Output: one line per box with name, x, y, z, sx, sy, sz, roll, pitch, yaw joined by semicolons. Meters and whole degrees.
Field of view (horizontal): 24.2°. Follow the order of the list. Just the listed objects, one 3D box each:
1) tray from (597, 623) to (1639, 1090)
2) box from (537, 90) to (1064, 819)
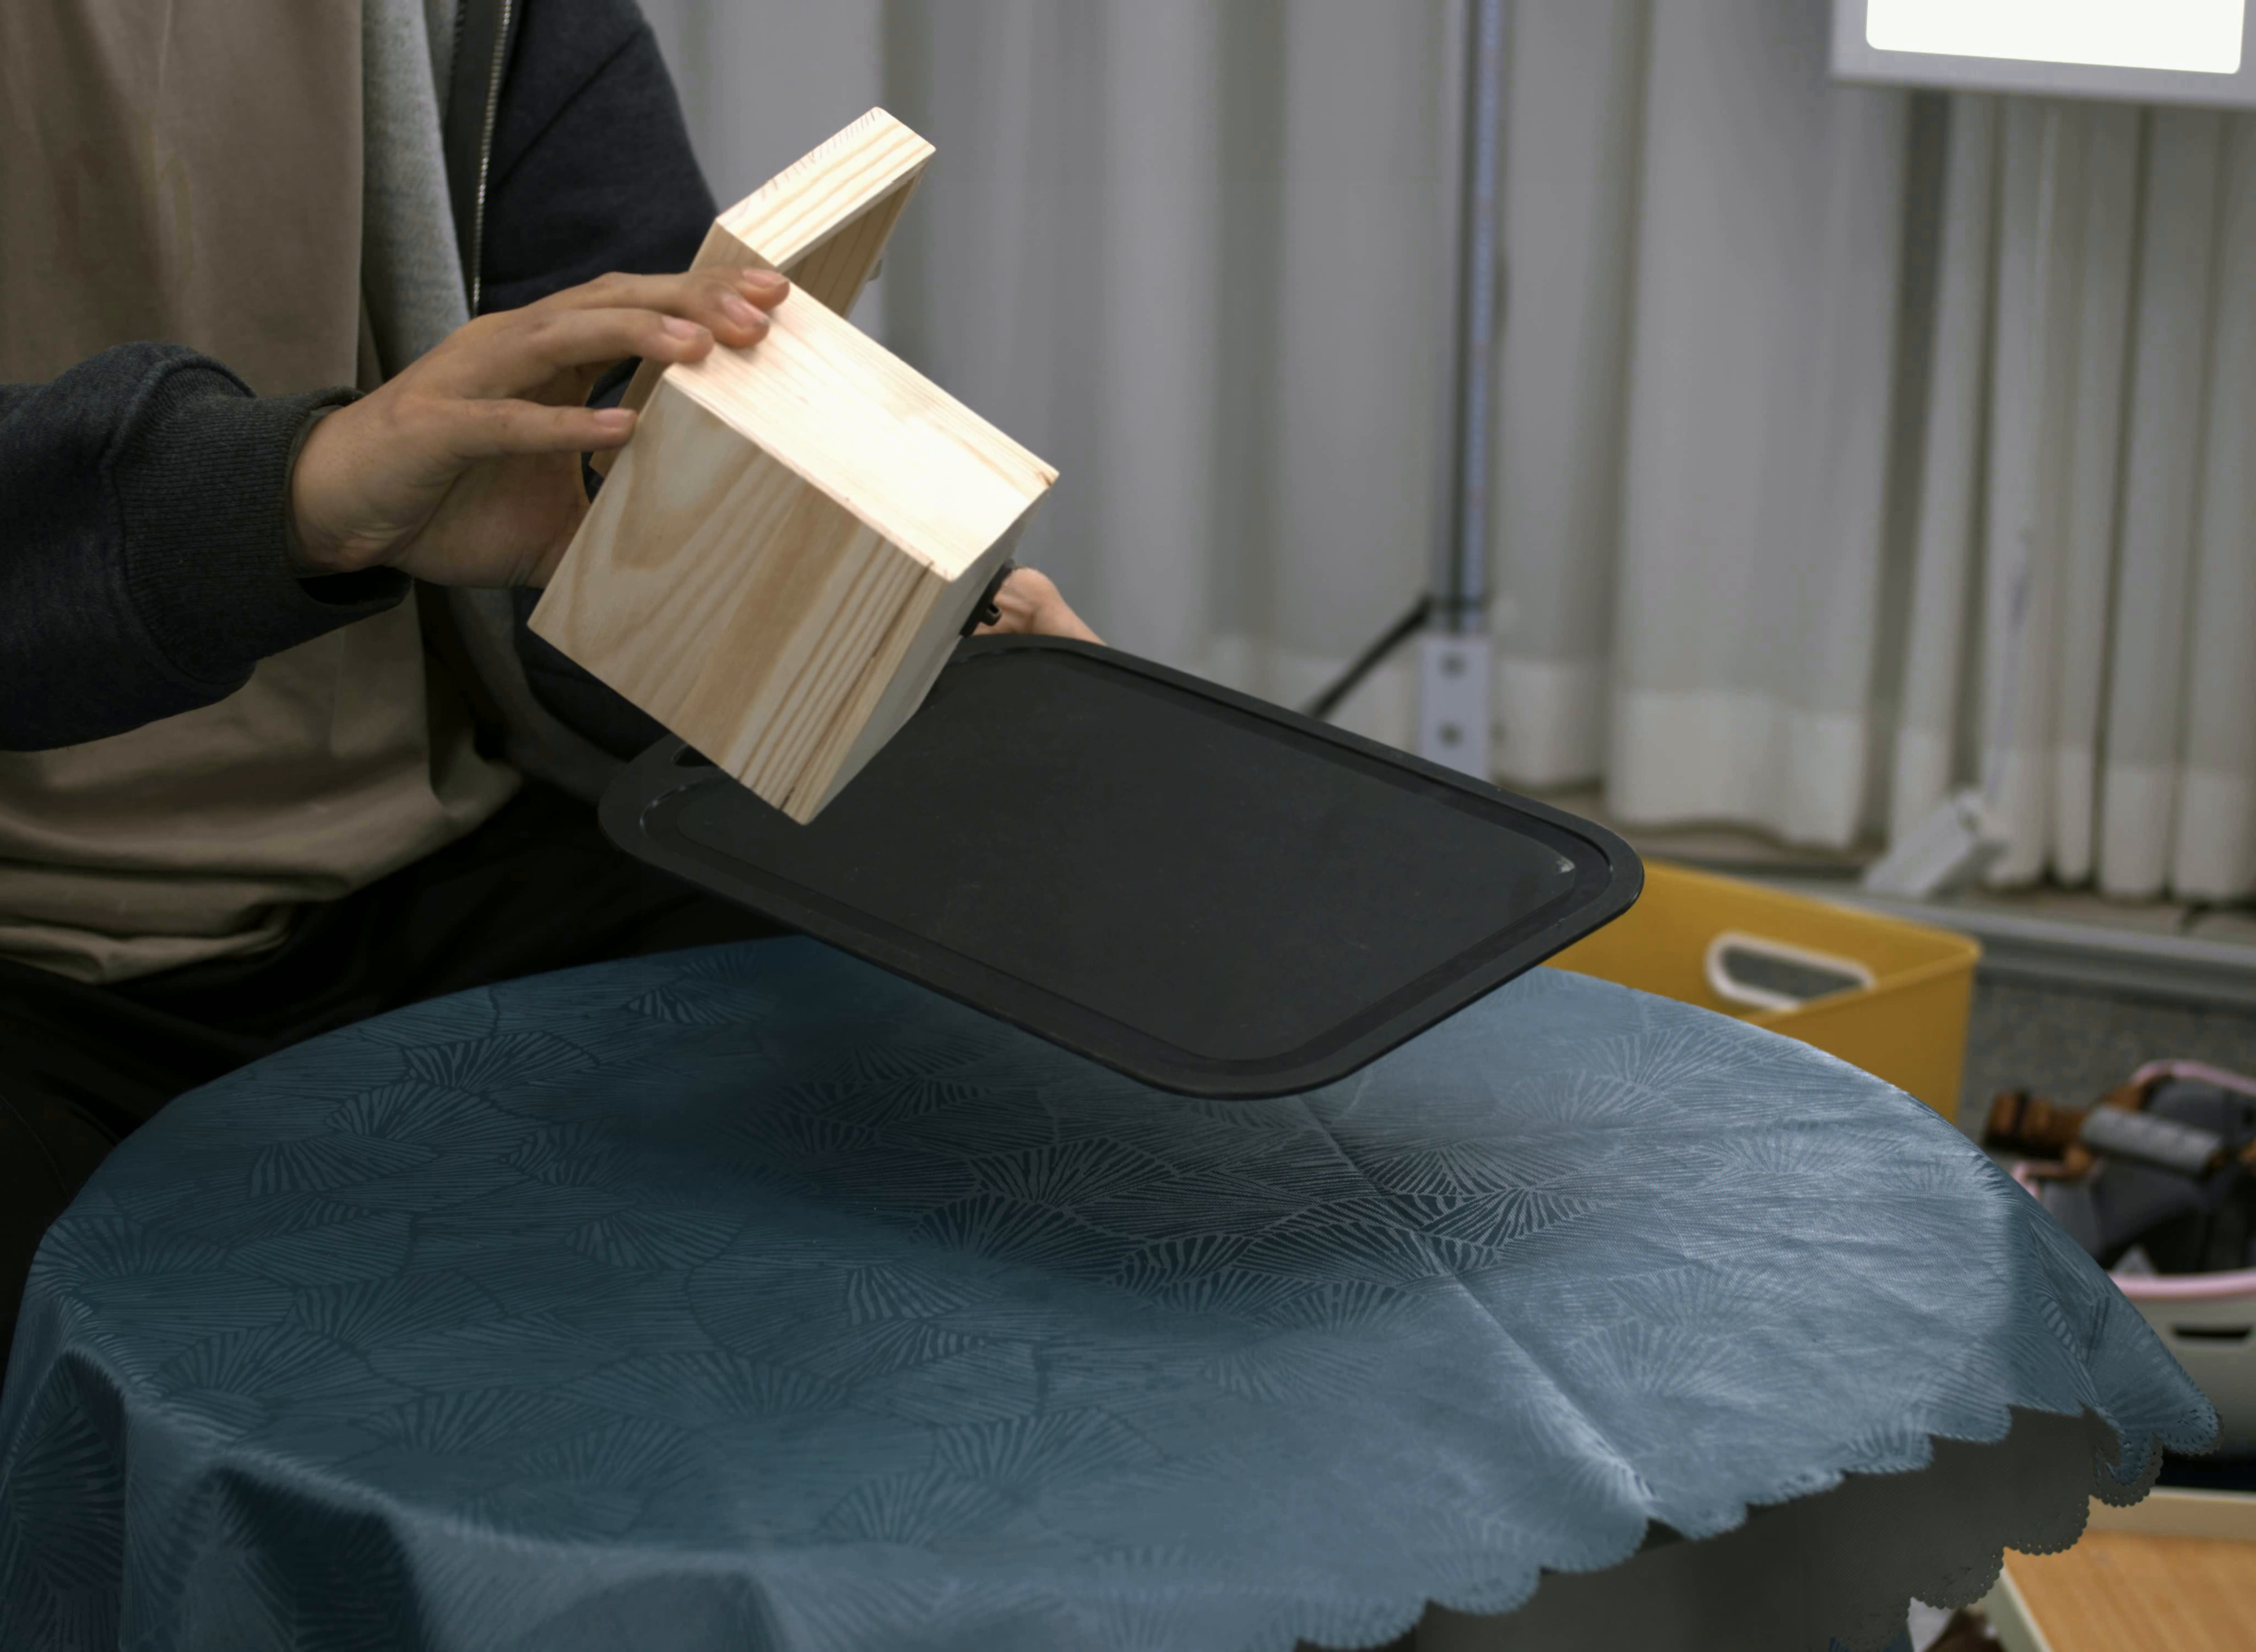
tray;-0.013;0.001;1.659;0.321;0.010;0.211;22;36;38
box;-0.082;-0.112;1.549;0.133;0.103;0.184;35;38;2
